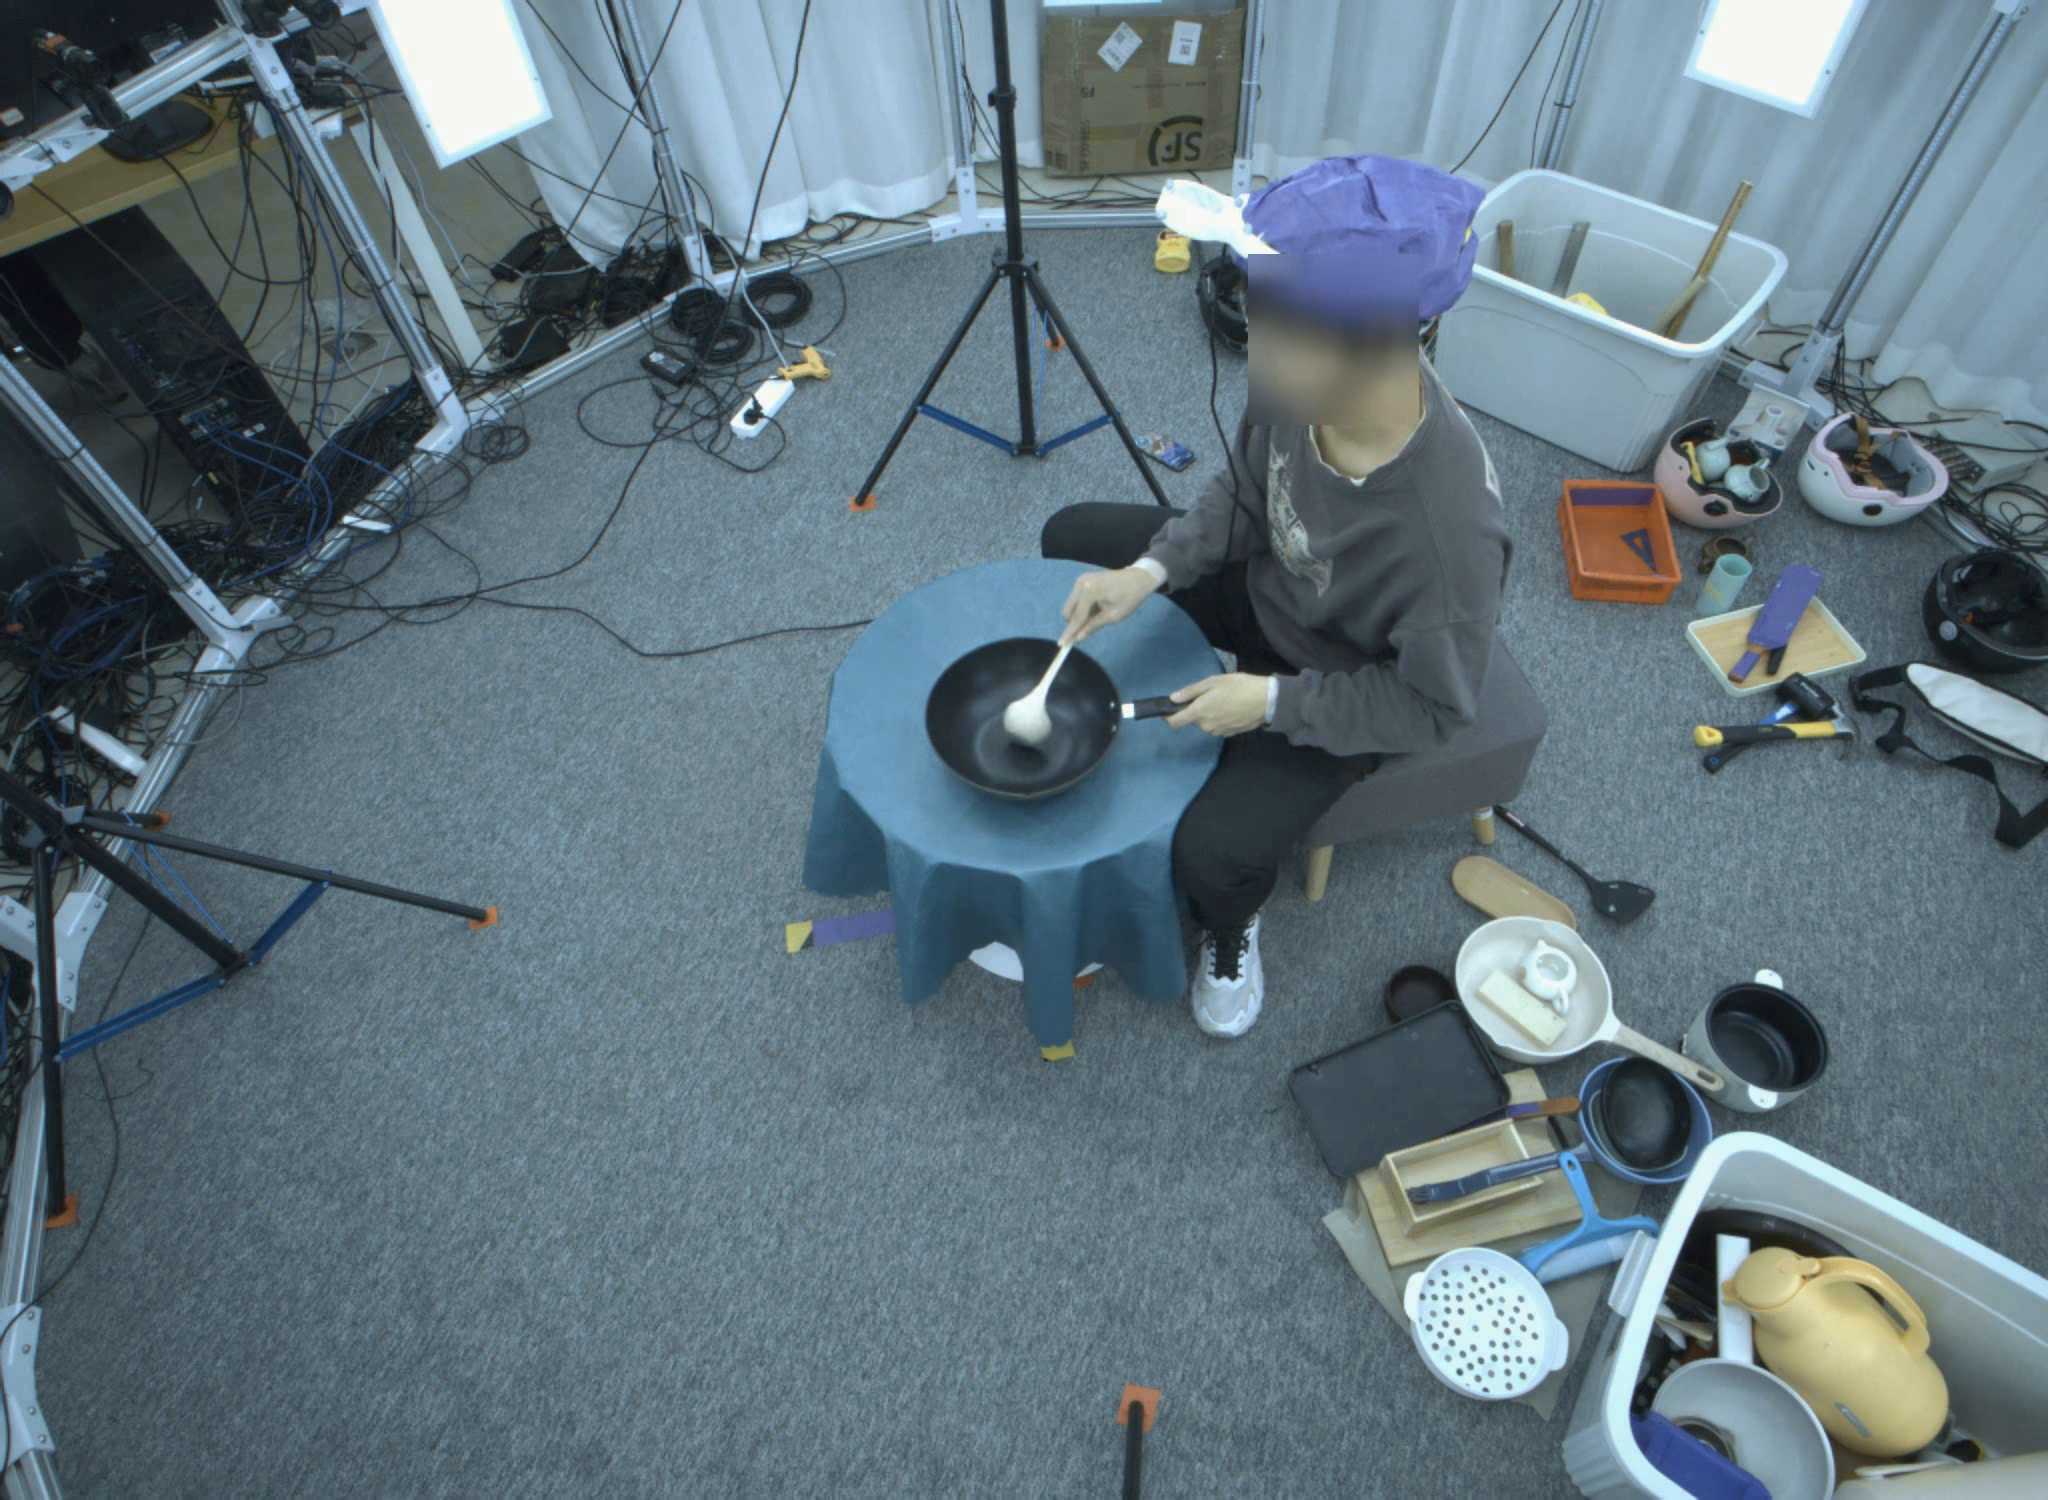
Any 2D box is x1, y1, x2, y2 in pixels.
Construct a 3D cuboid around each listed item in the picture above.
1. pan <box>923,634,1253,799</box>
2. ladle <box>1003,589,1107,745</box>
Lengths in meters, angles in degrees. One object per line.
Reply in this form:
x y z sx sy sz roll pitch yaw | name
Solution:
0.091 -0.038 1.758 0.464 0.088 0.285 -2 54 -1 | pan
0.054 -0.120 1.792 0.071 0.073 0.255 28 71 12 | ladle
